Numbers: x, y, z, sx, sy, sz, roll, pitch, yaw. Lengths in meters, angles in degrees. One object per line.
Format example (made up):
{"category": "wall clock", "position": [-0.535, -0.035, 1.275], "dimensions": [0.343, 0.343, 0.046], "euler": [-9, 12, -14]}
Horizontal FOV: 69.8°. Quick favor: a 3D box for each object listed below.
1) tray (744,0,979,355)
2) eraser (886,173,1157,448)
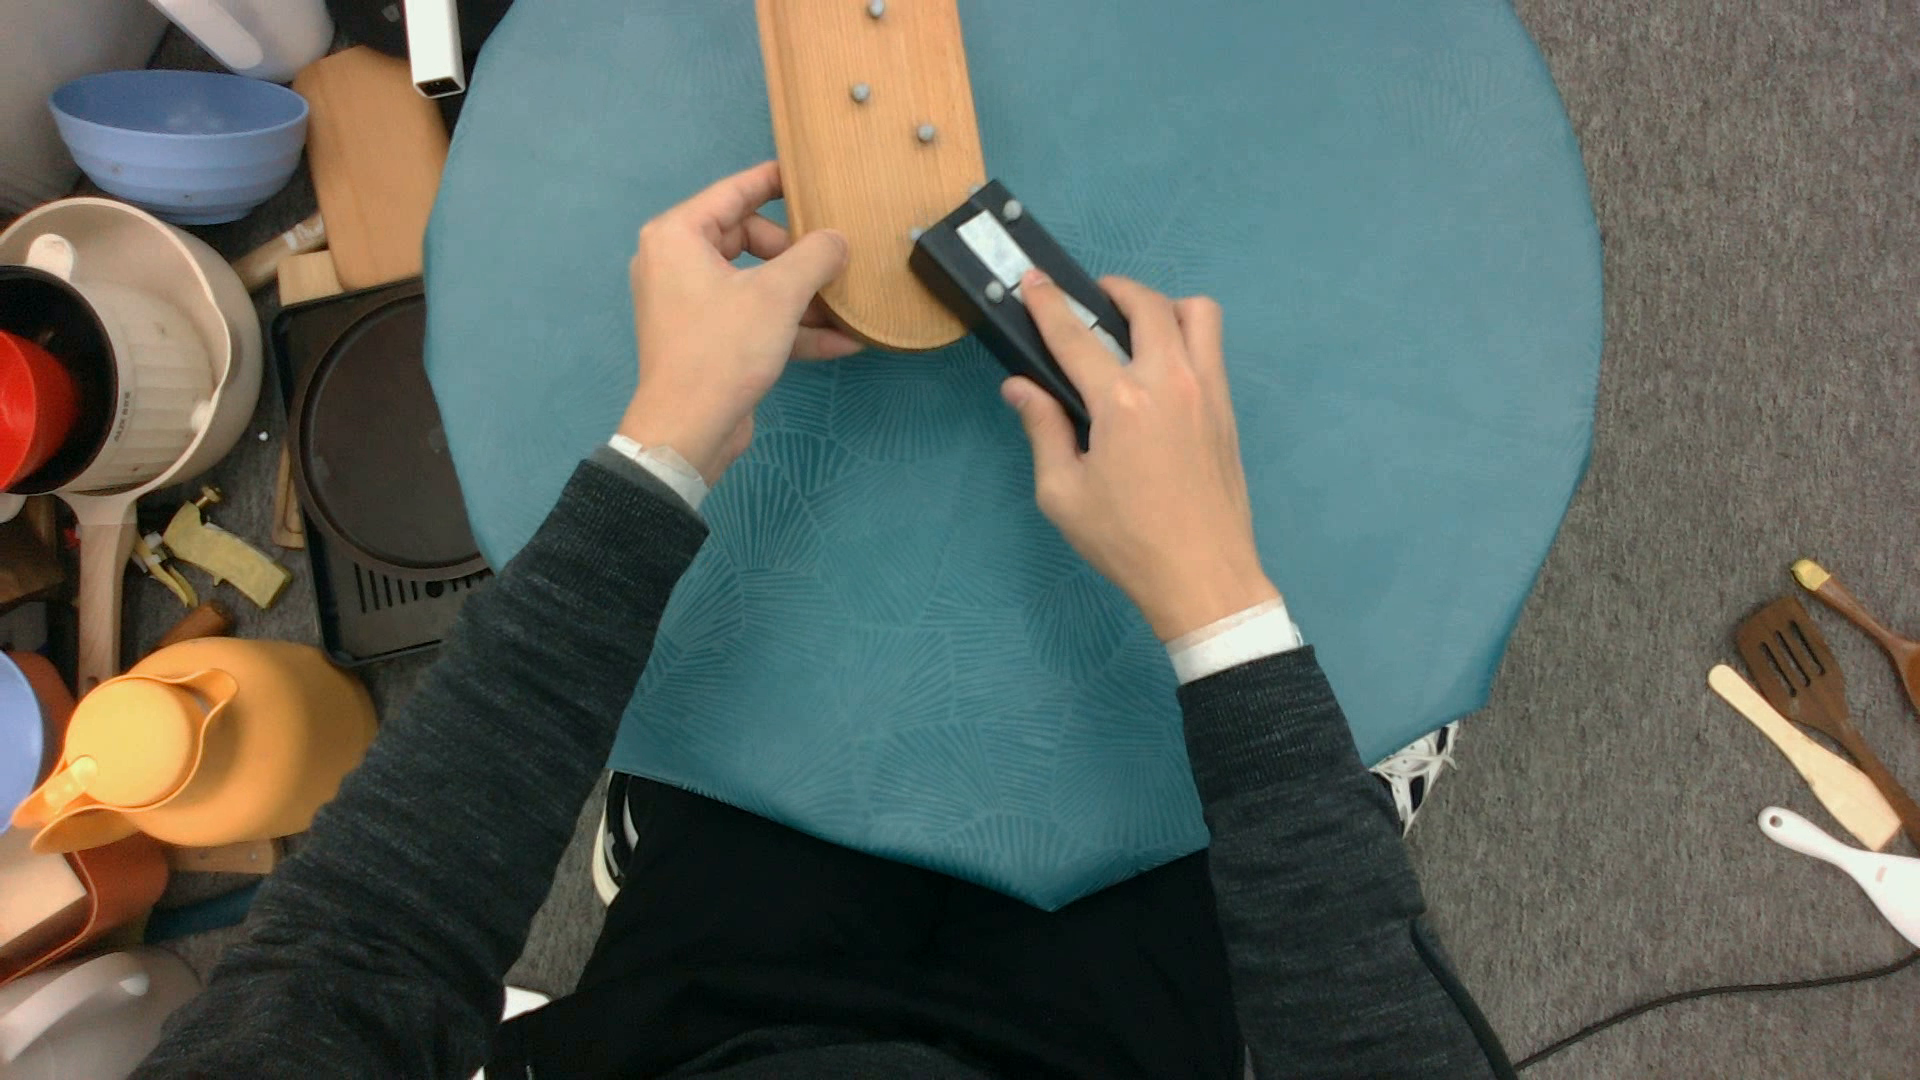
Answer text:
{"category": "tray", "position": [-0.044, -0.196, 0.642], "dimensions": [0.102, 0.020, 0.231], "euler": [-5, 81, -26]}
{"category": "eraser", "position": [0.026, -0.103, 0.621], "dimensions": [0.053, 0.030, 0.125], "euler": [-42, 85, -15]}
